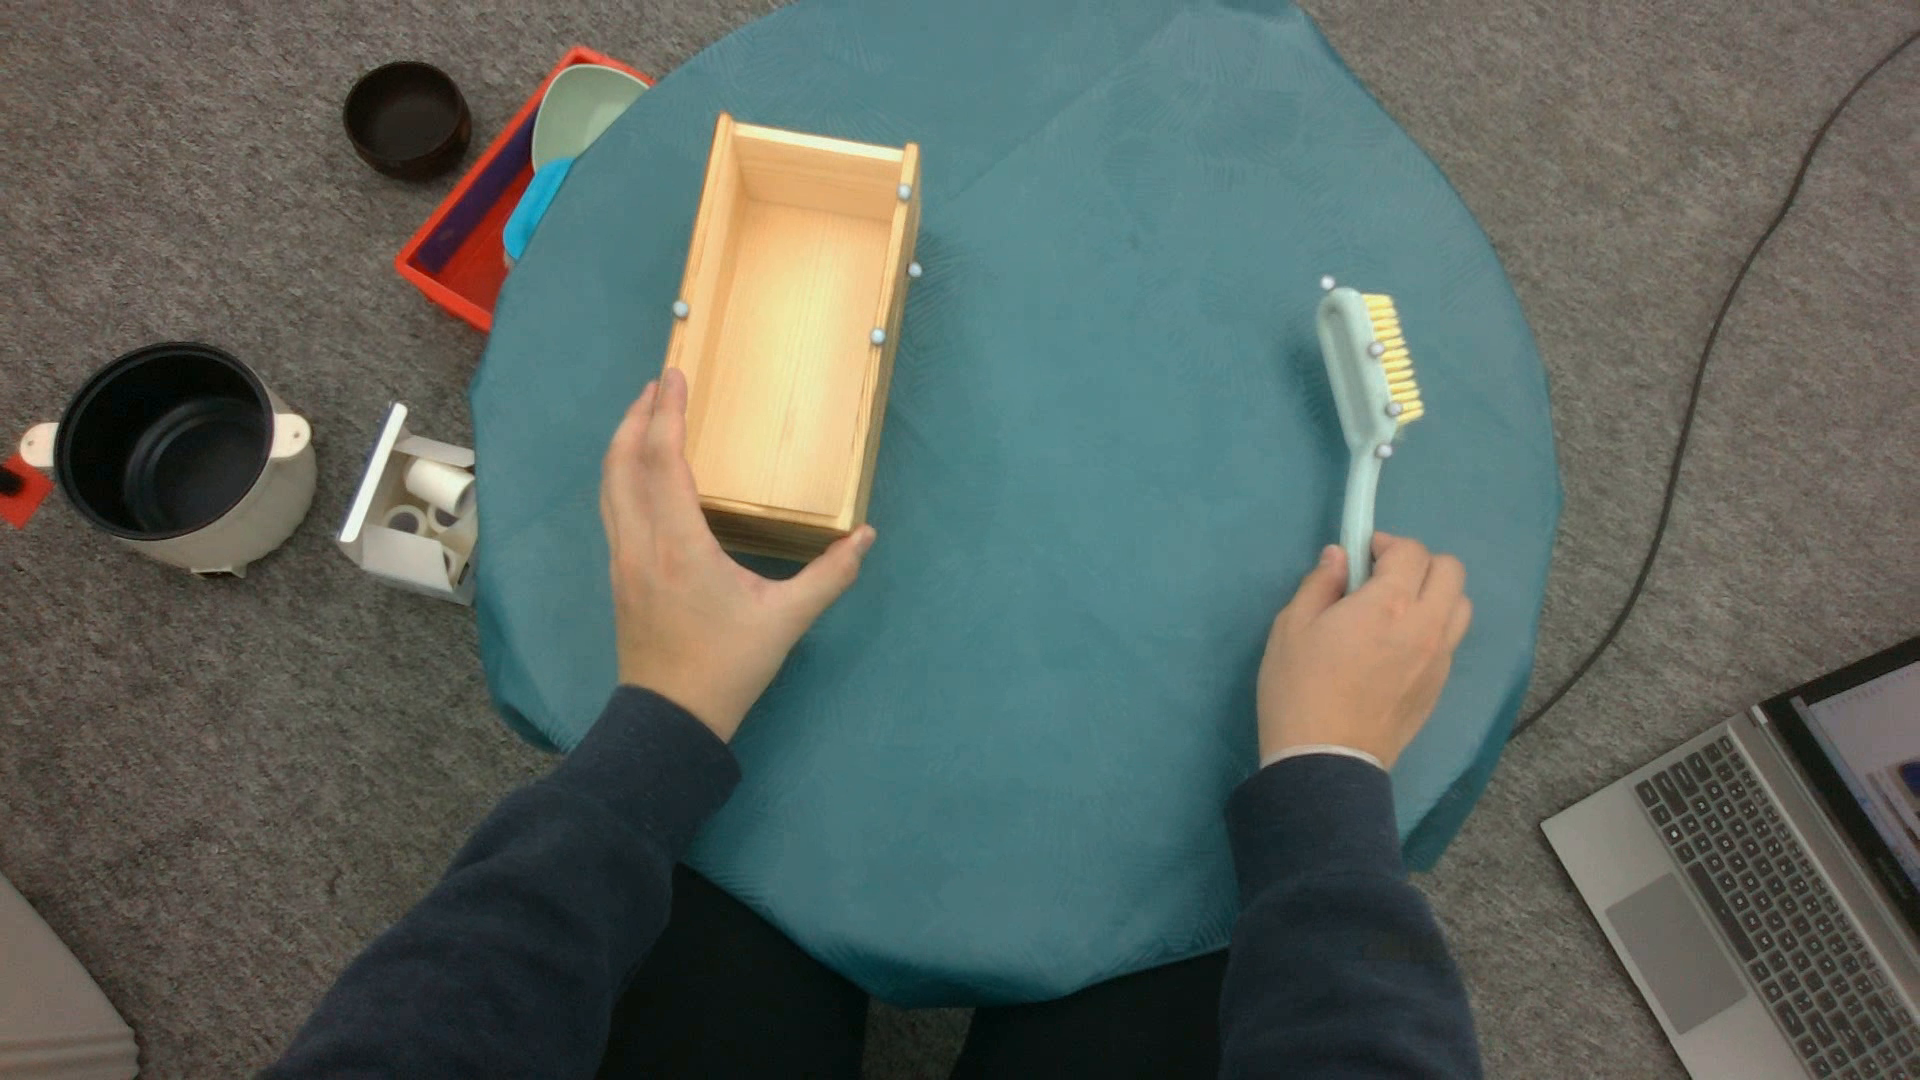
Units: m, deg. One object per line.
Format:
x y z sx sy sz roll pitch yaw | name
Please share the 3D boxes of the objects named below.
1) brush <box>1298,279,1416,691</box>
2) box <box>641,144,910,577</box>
0.224 -0.033 0.743 0.050 0.037 0.229 2 73 -23 | brush
-0.093 -0.095 0.738 0.107 0.080 0.212 6 74 1 | box
